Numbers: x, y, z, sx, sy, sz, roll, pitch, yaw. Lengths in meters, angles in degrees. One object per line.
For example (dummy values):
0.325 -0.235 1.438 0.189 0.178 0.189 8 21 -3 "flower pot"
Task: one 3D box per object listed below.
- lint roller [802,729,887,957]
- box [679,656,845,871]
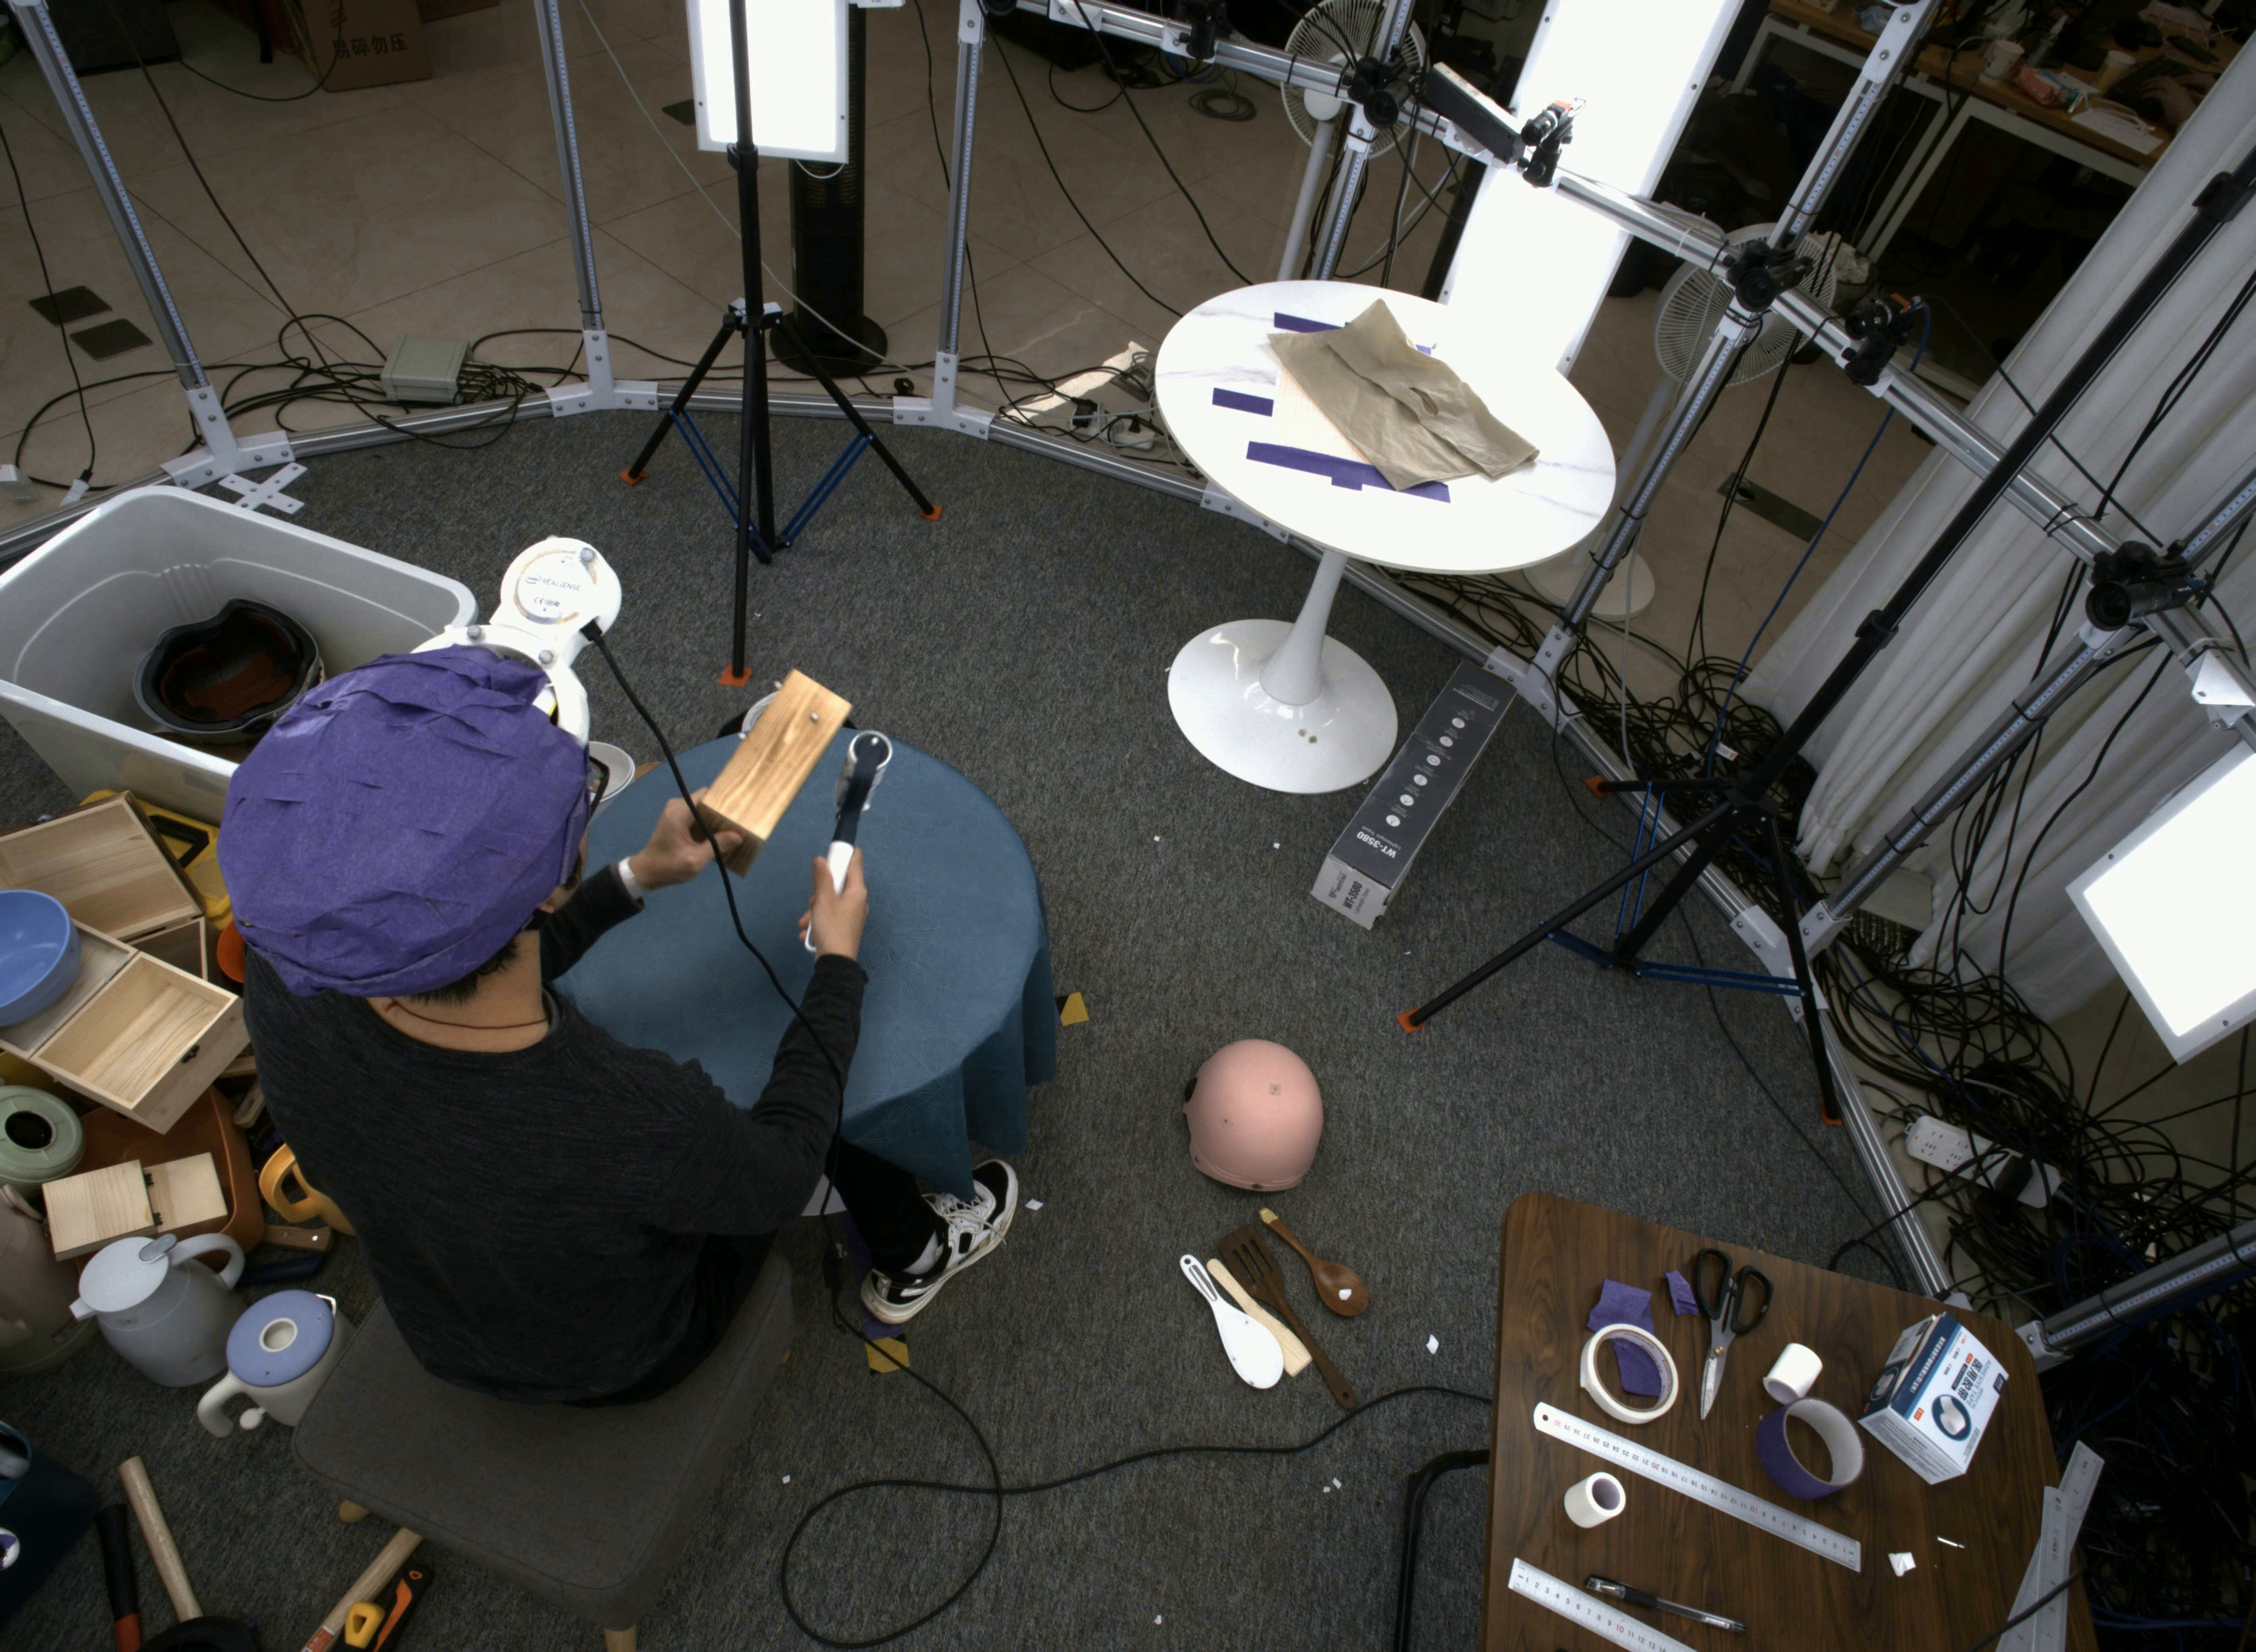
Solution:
-0.331 0.032 1.495 0.051 0.176 0.245 12 67 -16 "lint roller"
-0.412 -0.071 1.459 0.081 0.107 0.209 31 53 -12 "box"
